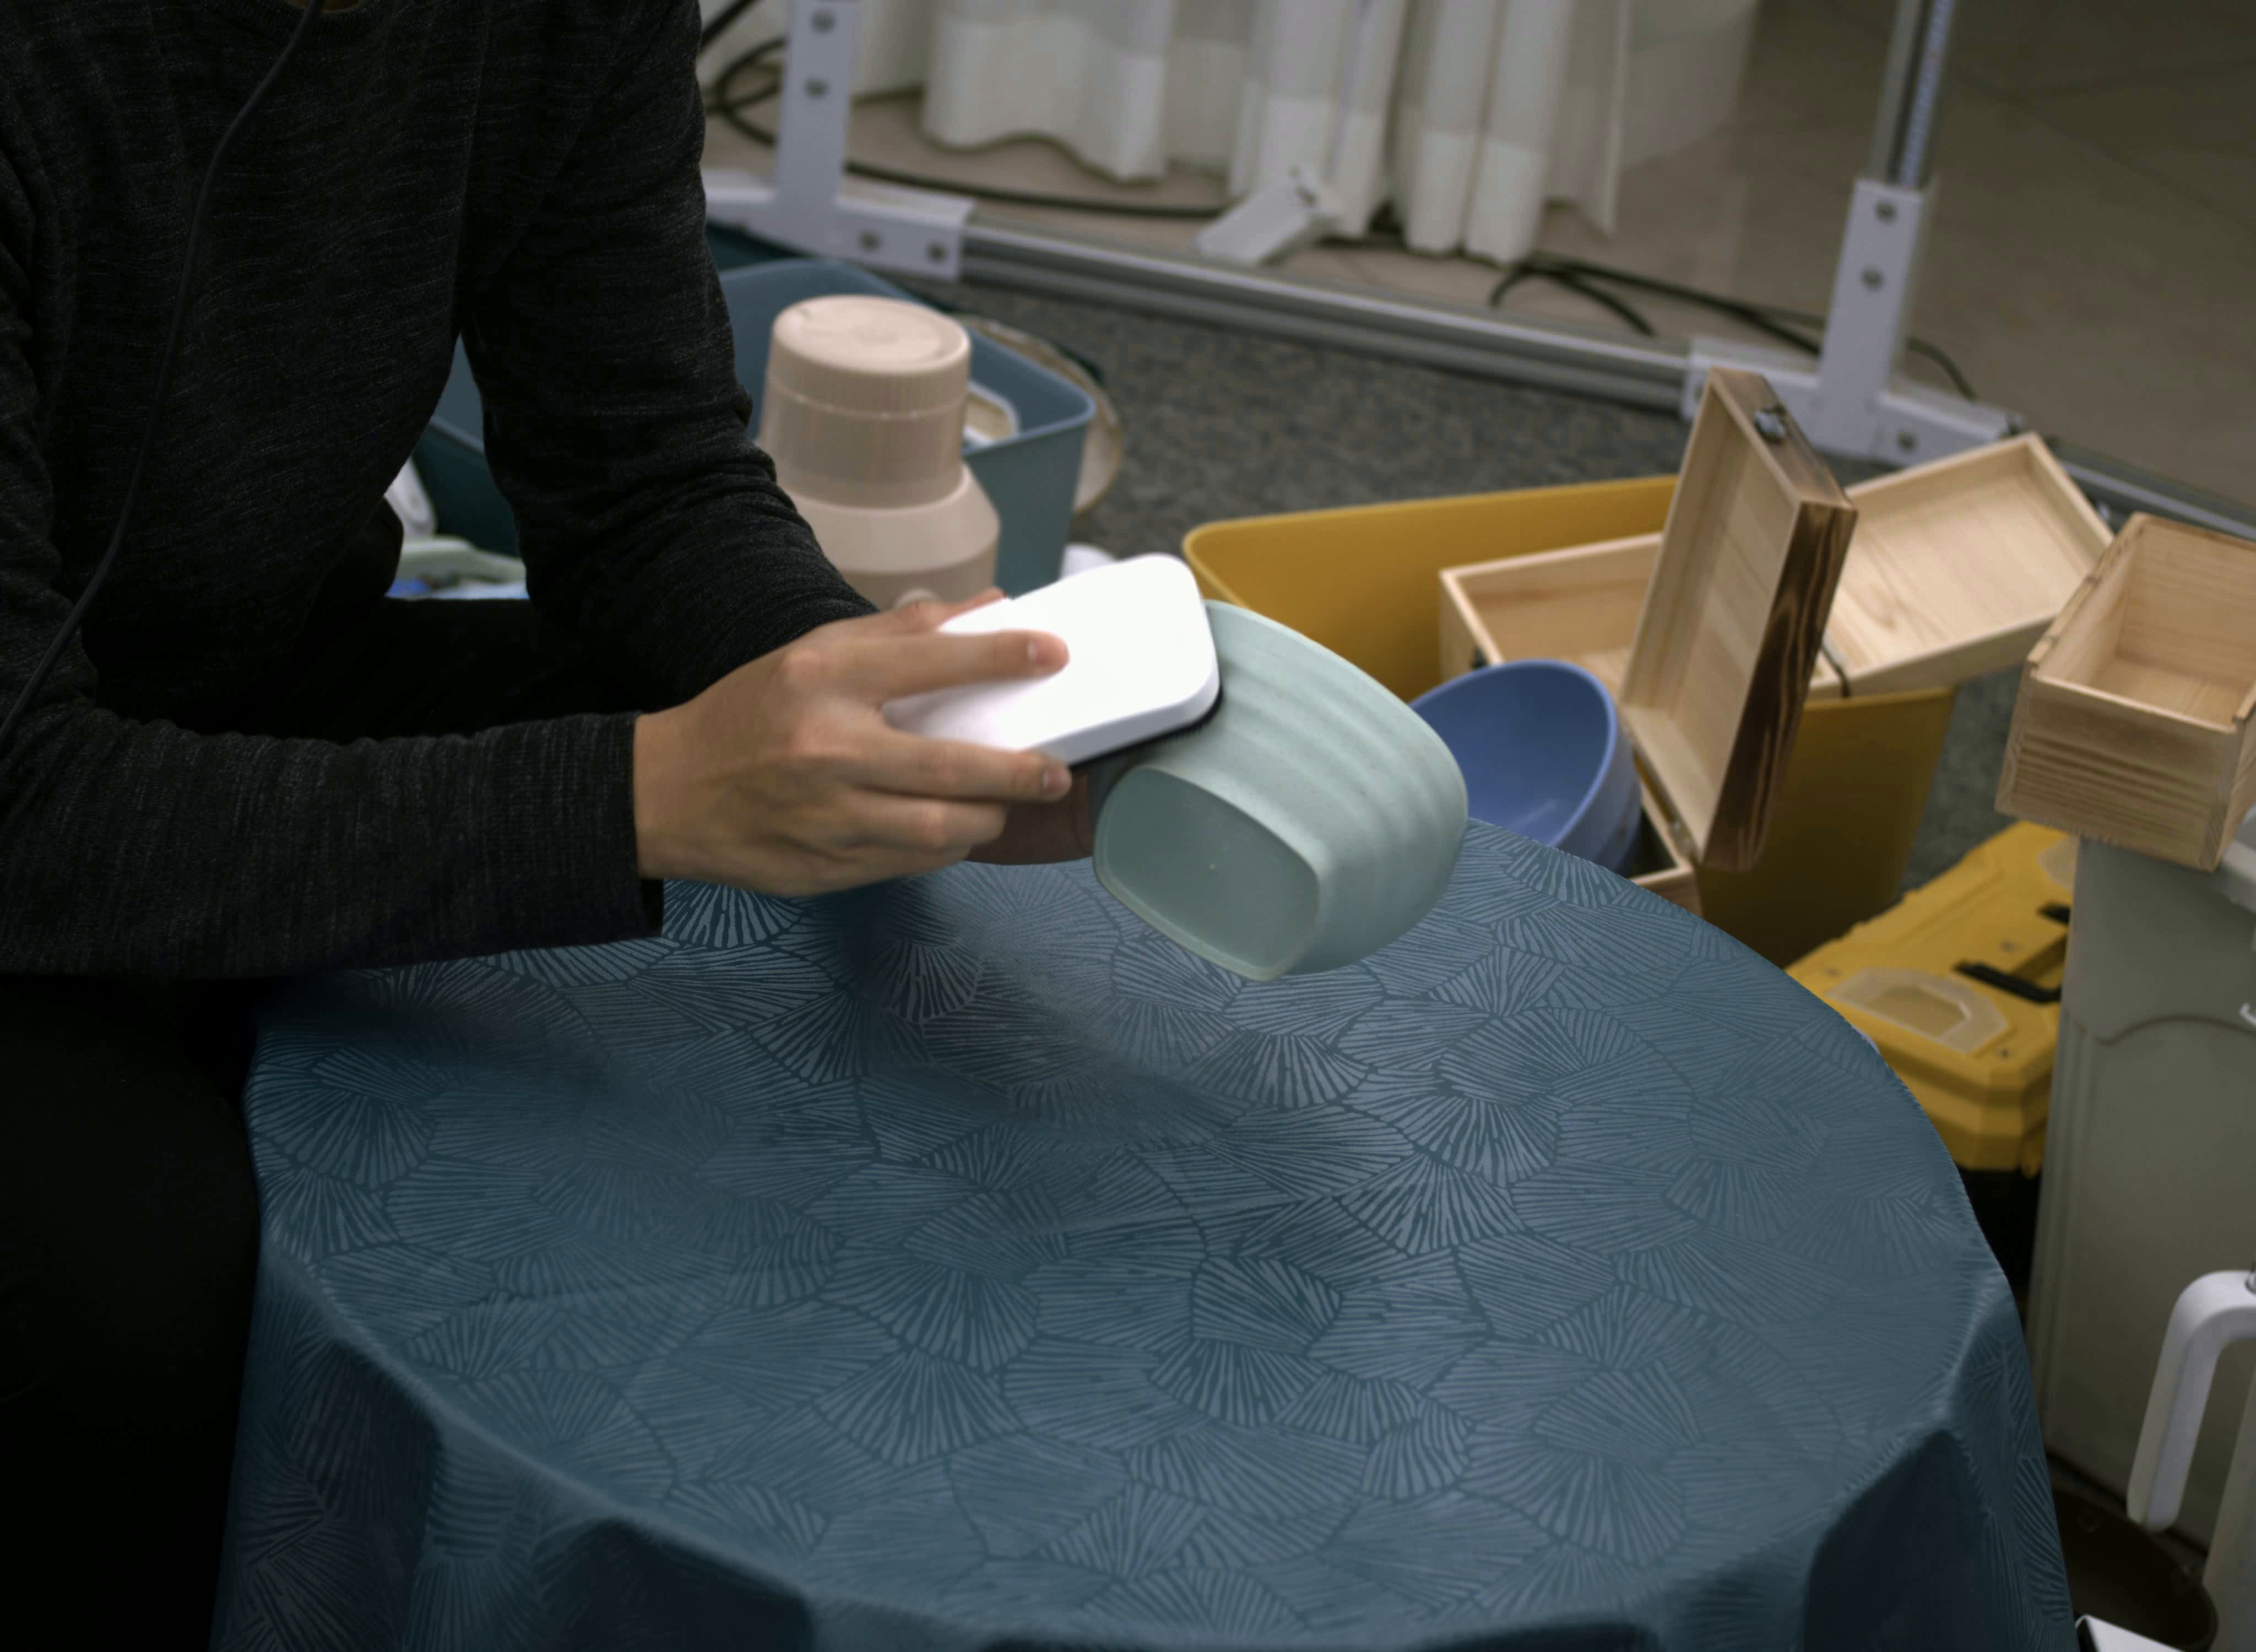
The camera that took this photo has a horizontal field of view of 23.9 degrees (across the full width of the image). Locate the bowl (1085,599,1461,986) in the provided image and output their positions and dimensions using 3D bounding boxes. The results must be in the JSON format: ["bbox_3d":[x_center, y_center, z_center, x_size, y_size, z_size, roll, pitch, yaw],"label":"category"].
[{"bbox_3d":[0.038,-0.001,1.818,0.152,0.150,0.059,21,49,24],"label":"bowl"}]

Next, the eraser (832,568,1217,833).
[{"bbox_3d":[-0.036,-0.043,1.784,0.131,0.034,0.064,-17,56,13],"label":"eraser"}]
